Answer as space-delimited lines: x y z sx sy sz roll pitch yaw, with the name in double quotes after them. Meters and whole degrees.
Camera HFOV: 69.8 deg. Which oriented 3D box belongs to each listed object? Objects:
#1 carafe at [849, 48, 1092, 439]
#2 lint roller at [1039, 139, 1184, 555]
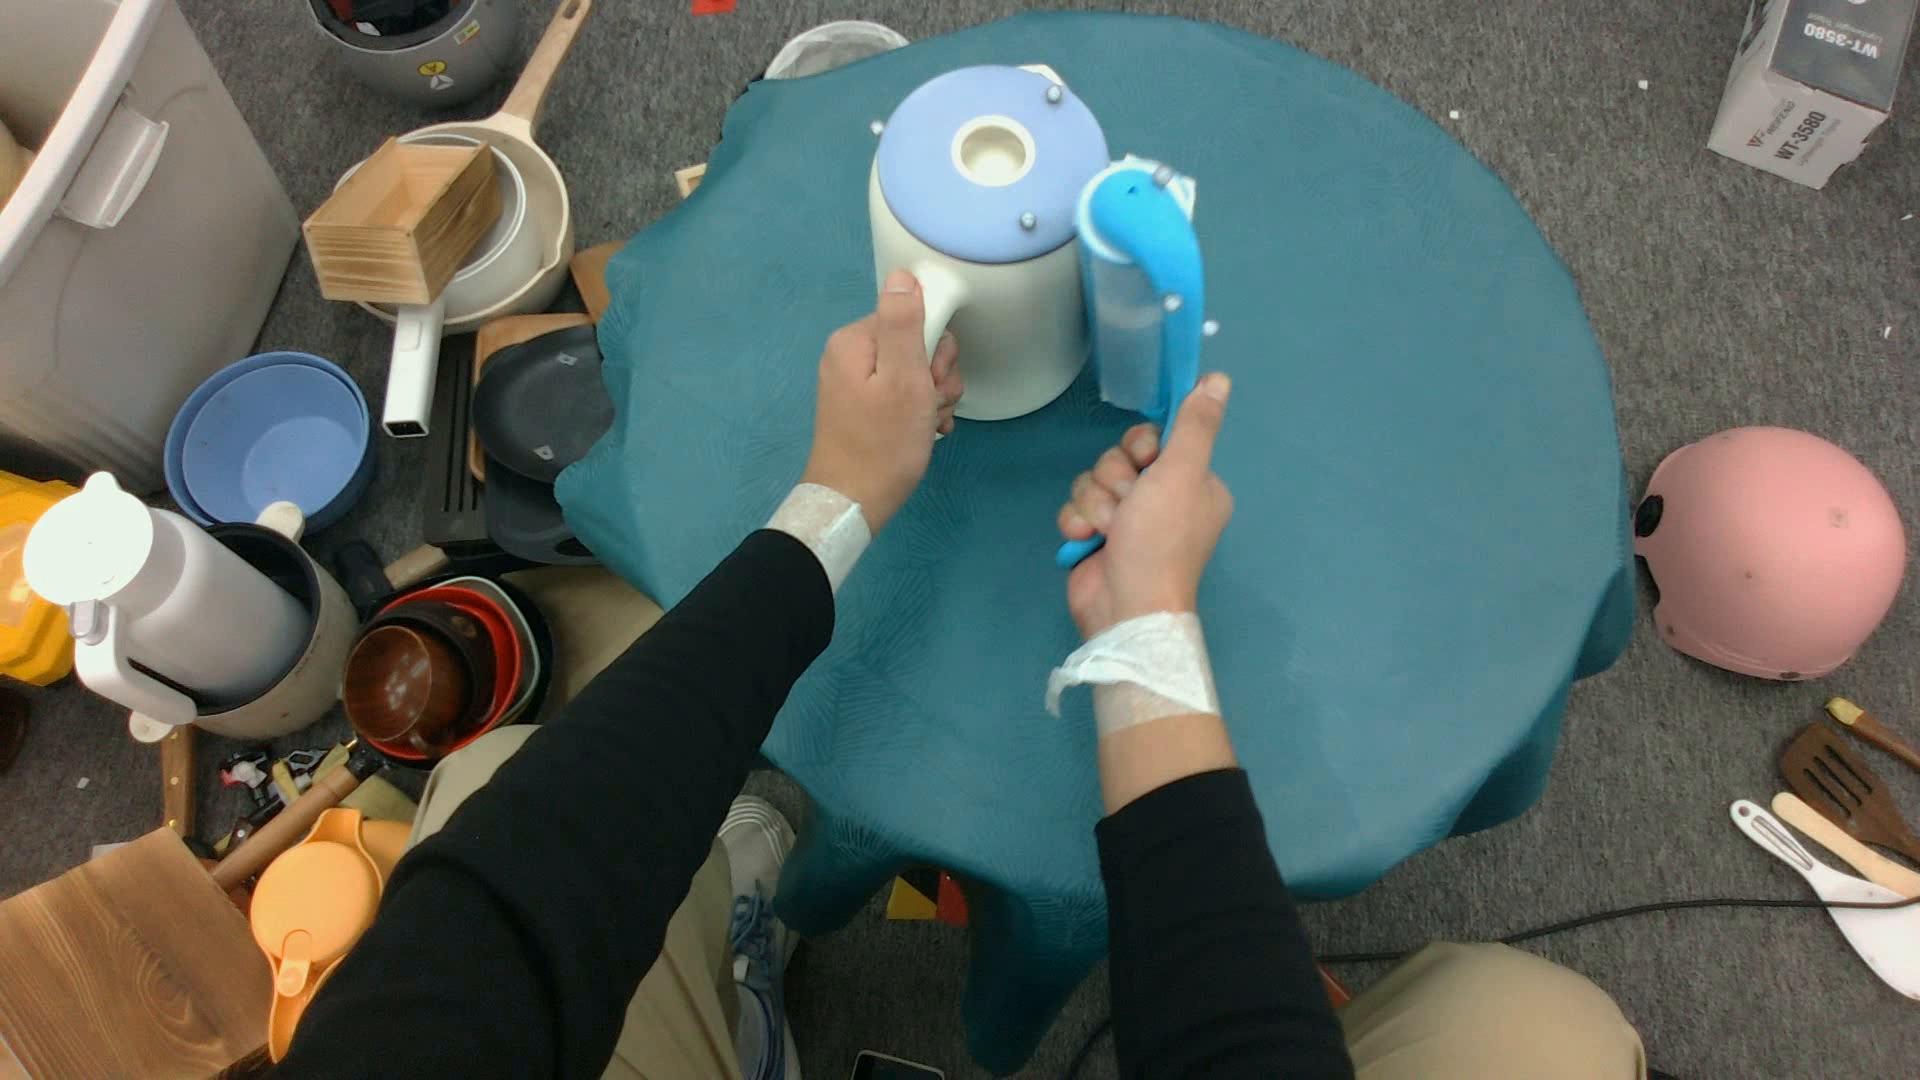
-0.004 -0.149 0.766 0.132 0.182 0.191 21 71 8 "carafe"
0.078 -0.079 0.711 0.068 0.228 0.180 2 78 5 "lint roller"
